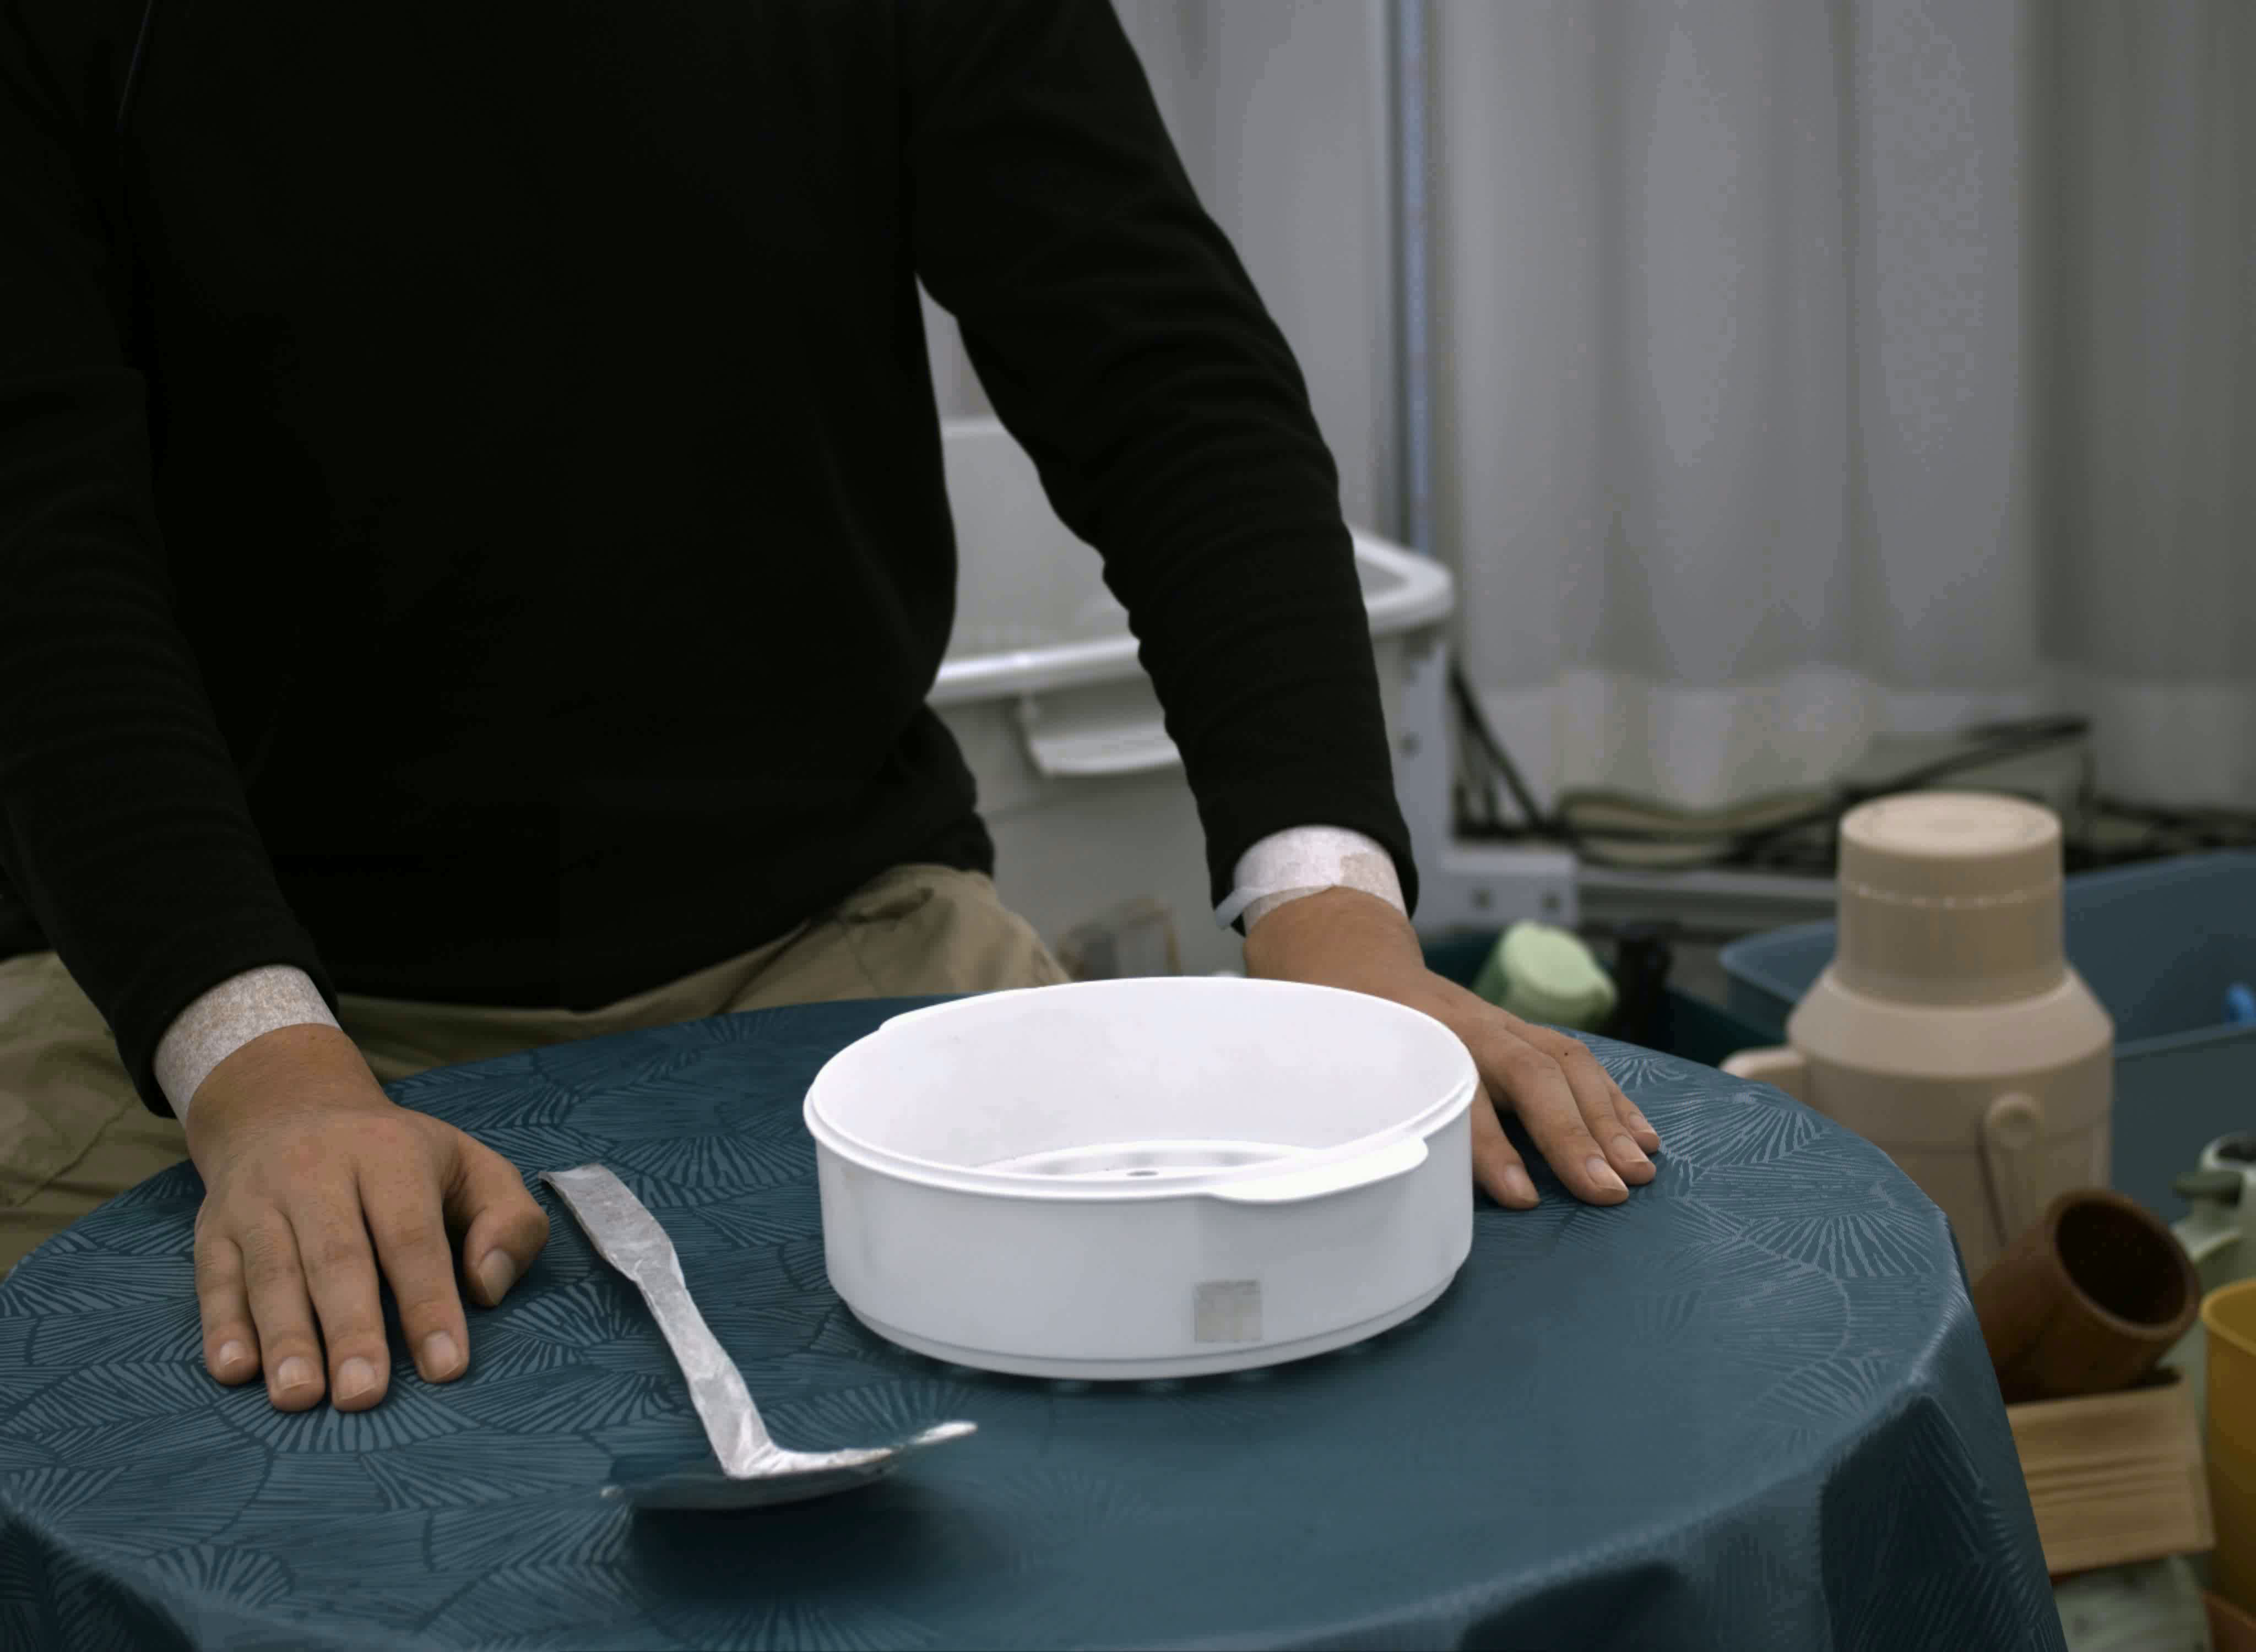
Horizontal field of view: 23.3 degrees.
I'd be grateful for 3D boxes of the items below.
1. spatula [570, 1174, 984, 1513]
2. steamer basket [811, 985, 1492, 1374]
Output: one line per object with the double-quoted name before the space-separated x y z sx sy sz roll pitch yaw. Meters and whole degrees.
"spatula" -0.125 0.139 1.573 0.098 0.044 0.368 -9 16 -14
"steamer basket" 0.008 0.104 1.617 0.201 0.069 0.232 -10 15 -29
